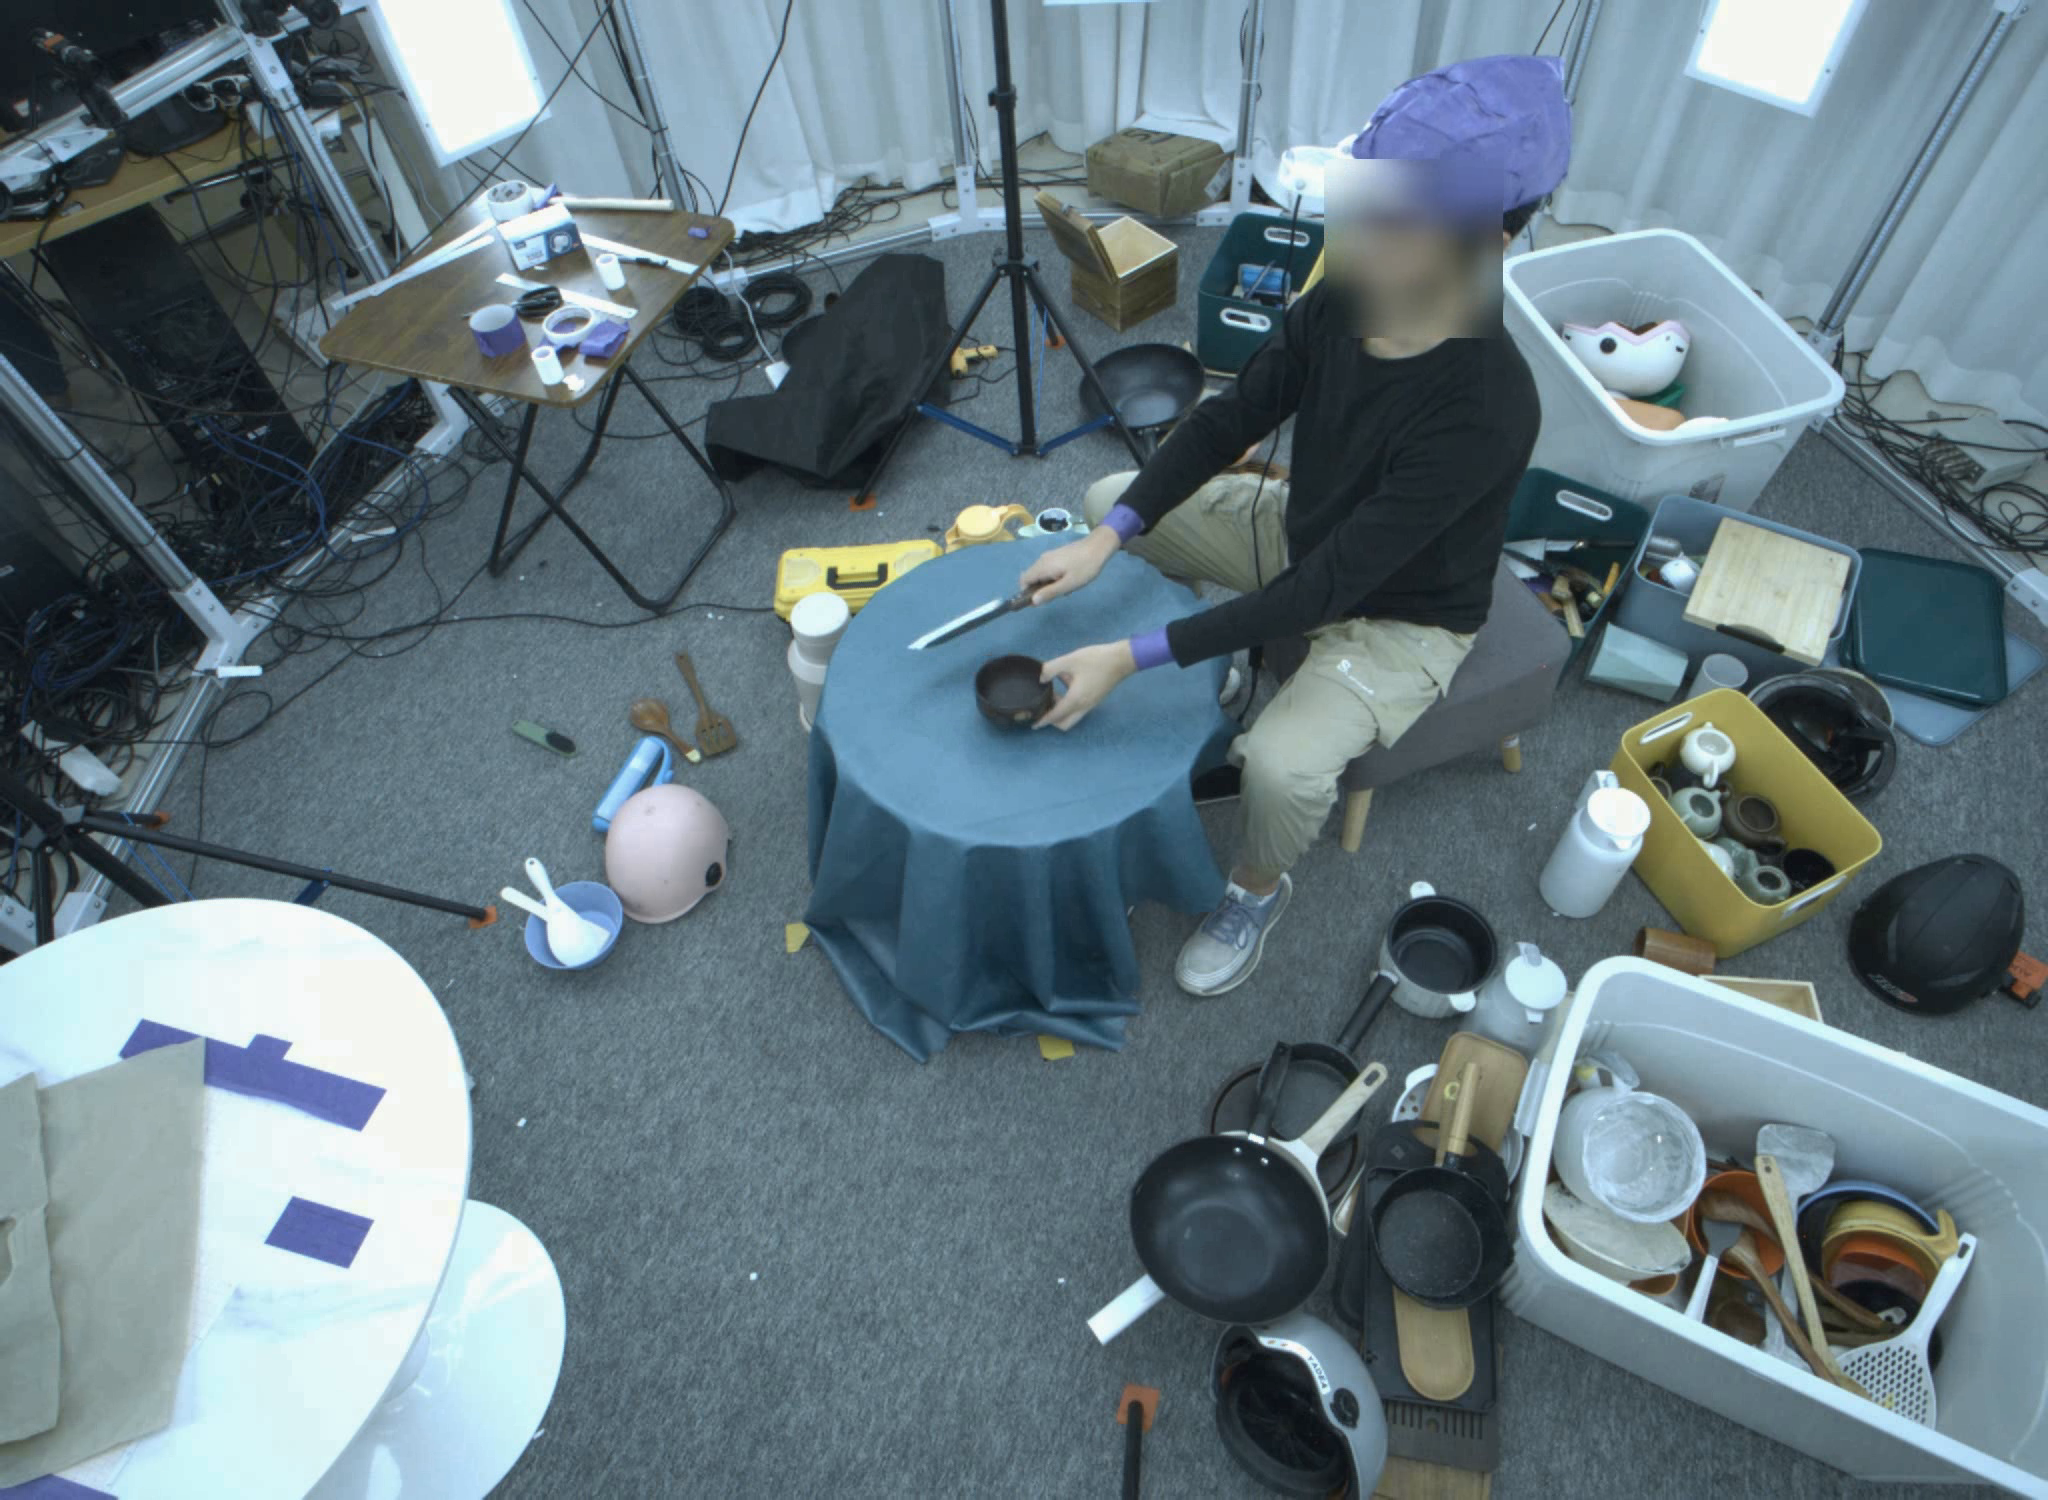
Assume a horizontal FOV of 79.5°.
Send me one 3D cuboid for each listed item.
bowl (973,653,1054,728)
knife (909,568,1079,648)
[{"bbox_3d":[-0.014,-0.078,1.792,0.118,0.070,0.117,-1,46,2],"label":"bowl"},{"bbox_3d":[-0.045,-0.212,1.847,0.291,0.020,0.049,-26,37,-17],"label":"knife"}]
